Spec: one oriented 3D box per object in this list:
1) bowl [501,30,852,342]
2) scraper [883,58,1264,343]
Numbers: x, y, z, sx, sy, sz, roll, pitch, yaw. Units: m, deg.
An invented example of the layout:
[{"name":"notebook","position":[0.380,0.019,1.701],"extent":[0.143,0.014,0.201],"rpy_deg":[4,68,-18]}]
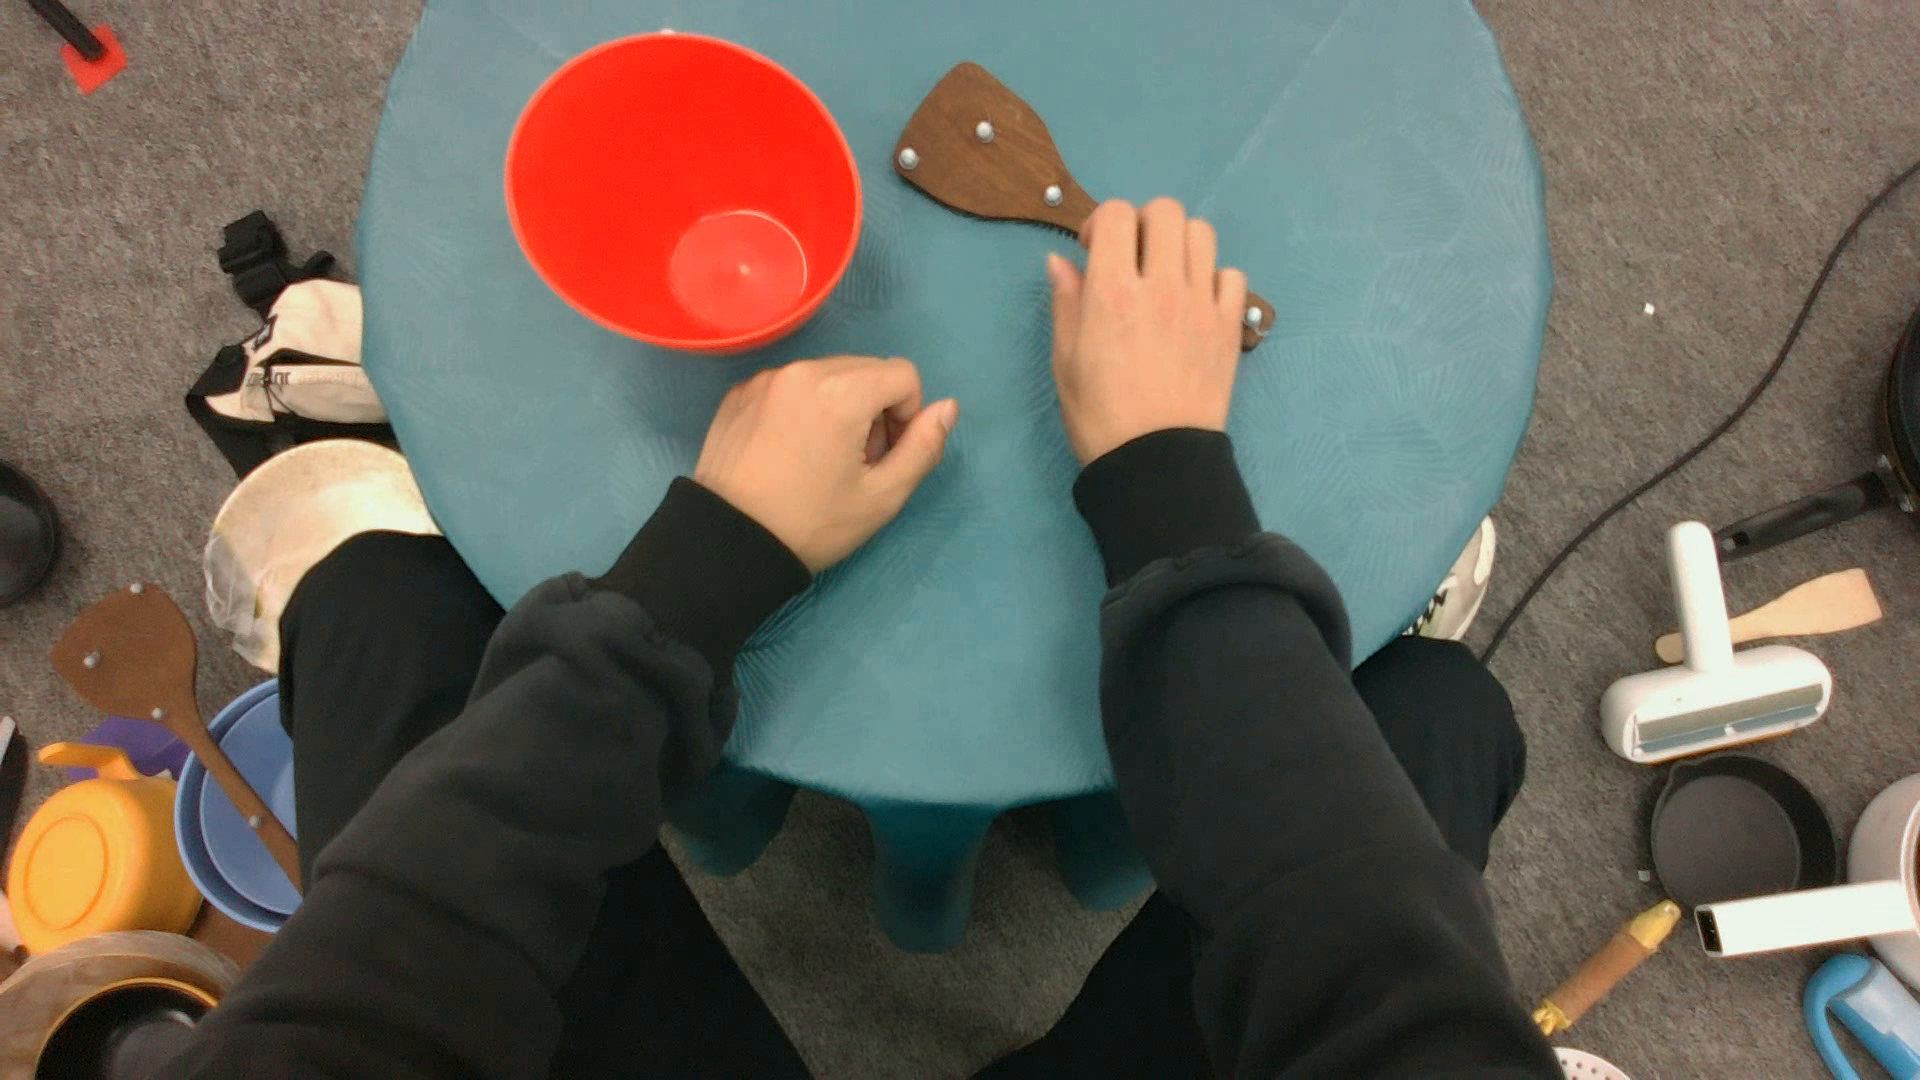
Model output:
[{"name":"bowl","position":[-0.123,-0.148,0.639],"extent":[0.148,0.104,0.148],"rpy_deg":[1,75,-2]},{"name":"scraper","position":[0.061,-0.165,0.699],"extent":[0.211,0.011,0.076],"rpy_deg":[34,78,6]}]
